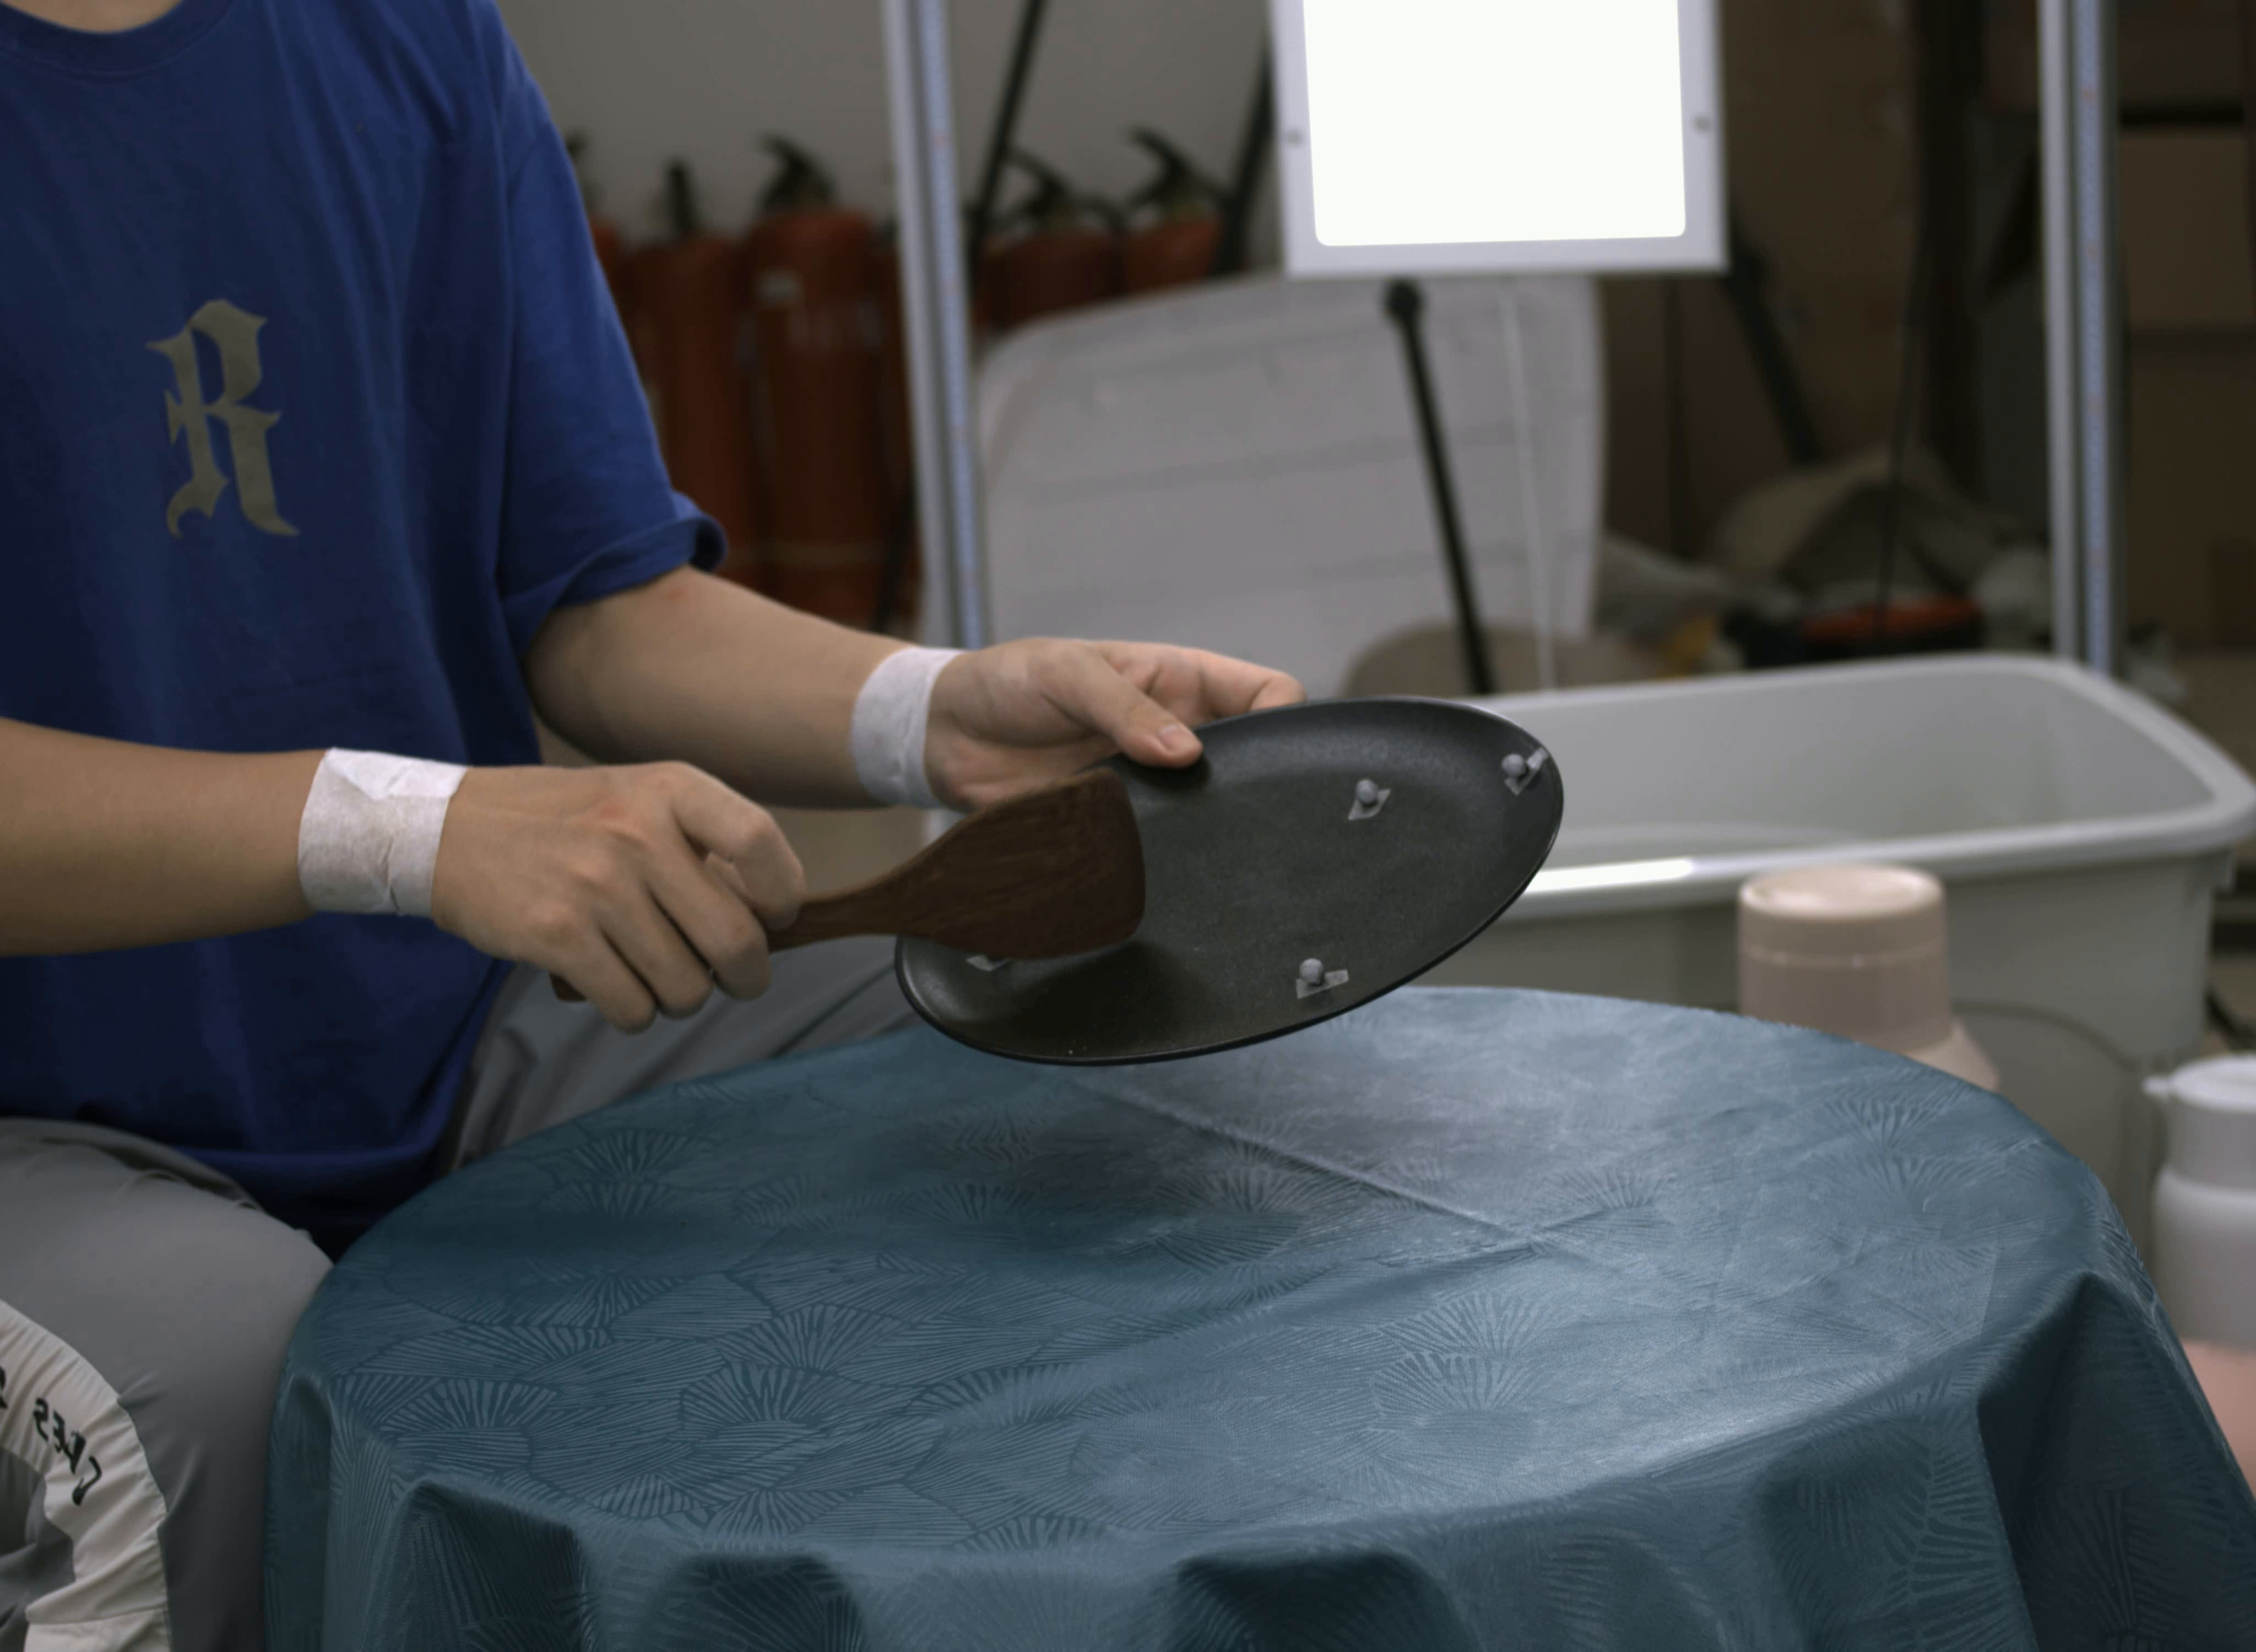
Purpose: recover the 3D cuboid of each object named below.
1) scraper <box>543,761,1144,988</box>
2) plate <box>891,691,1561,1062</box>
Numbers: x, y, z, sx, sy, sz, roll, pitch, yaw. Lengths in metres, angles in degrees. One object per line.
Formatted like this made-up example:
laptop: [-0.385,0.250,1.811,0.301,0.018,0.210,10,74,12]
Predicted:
scraper: [-0.098,0.026,1.907,0.211,0.076,0.011,-11,37,2]
plate: [0.036,0.023,1.925,0.245,0.023,0.244,-16,26,7]
